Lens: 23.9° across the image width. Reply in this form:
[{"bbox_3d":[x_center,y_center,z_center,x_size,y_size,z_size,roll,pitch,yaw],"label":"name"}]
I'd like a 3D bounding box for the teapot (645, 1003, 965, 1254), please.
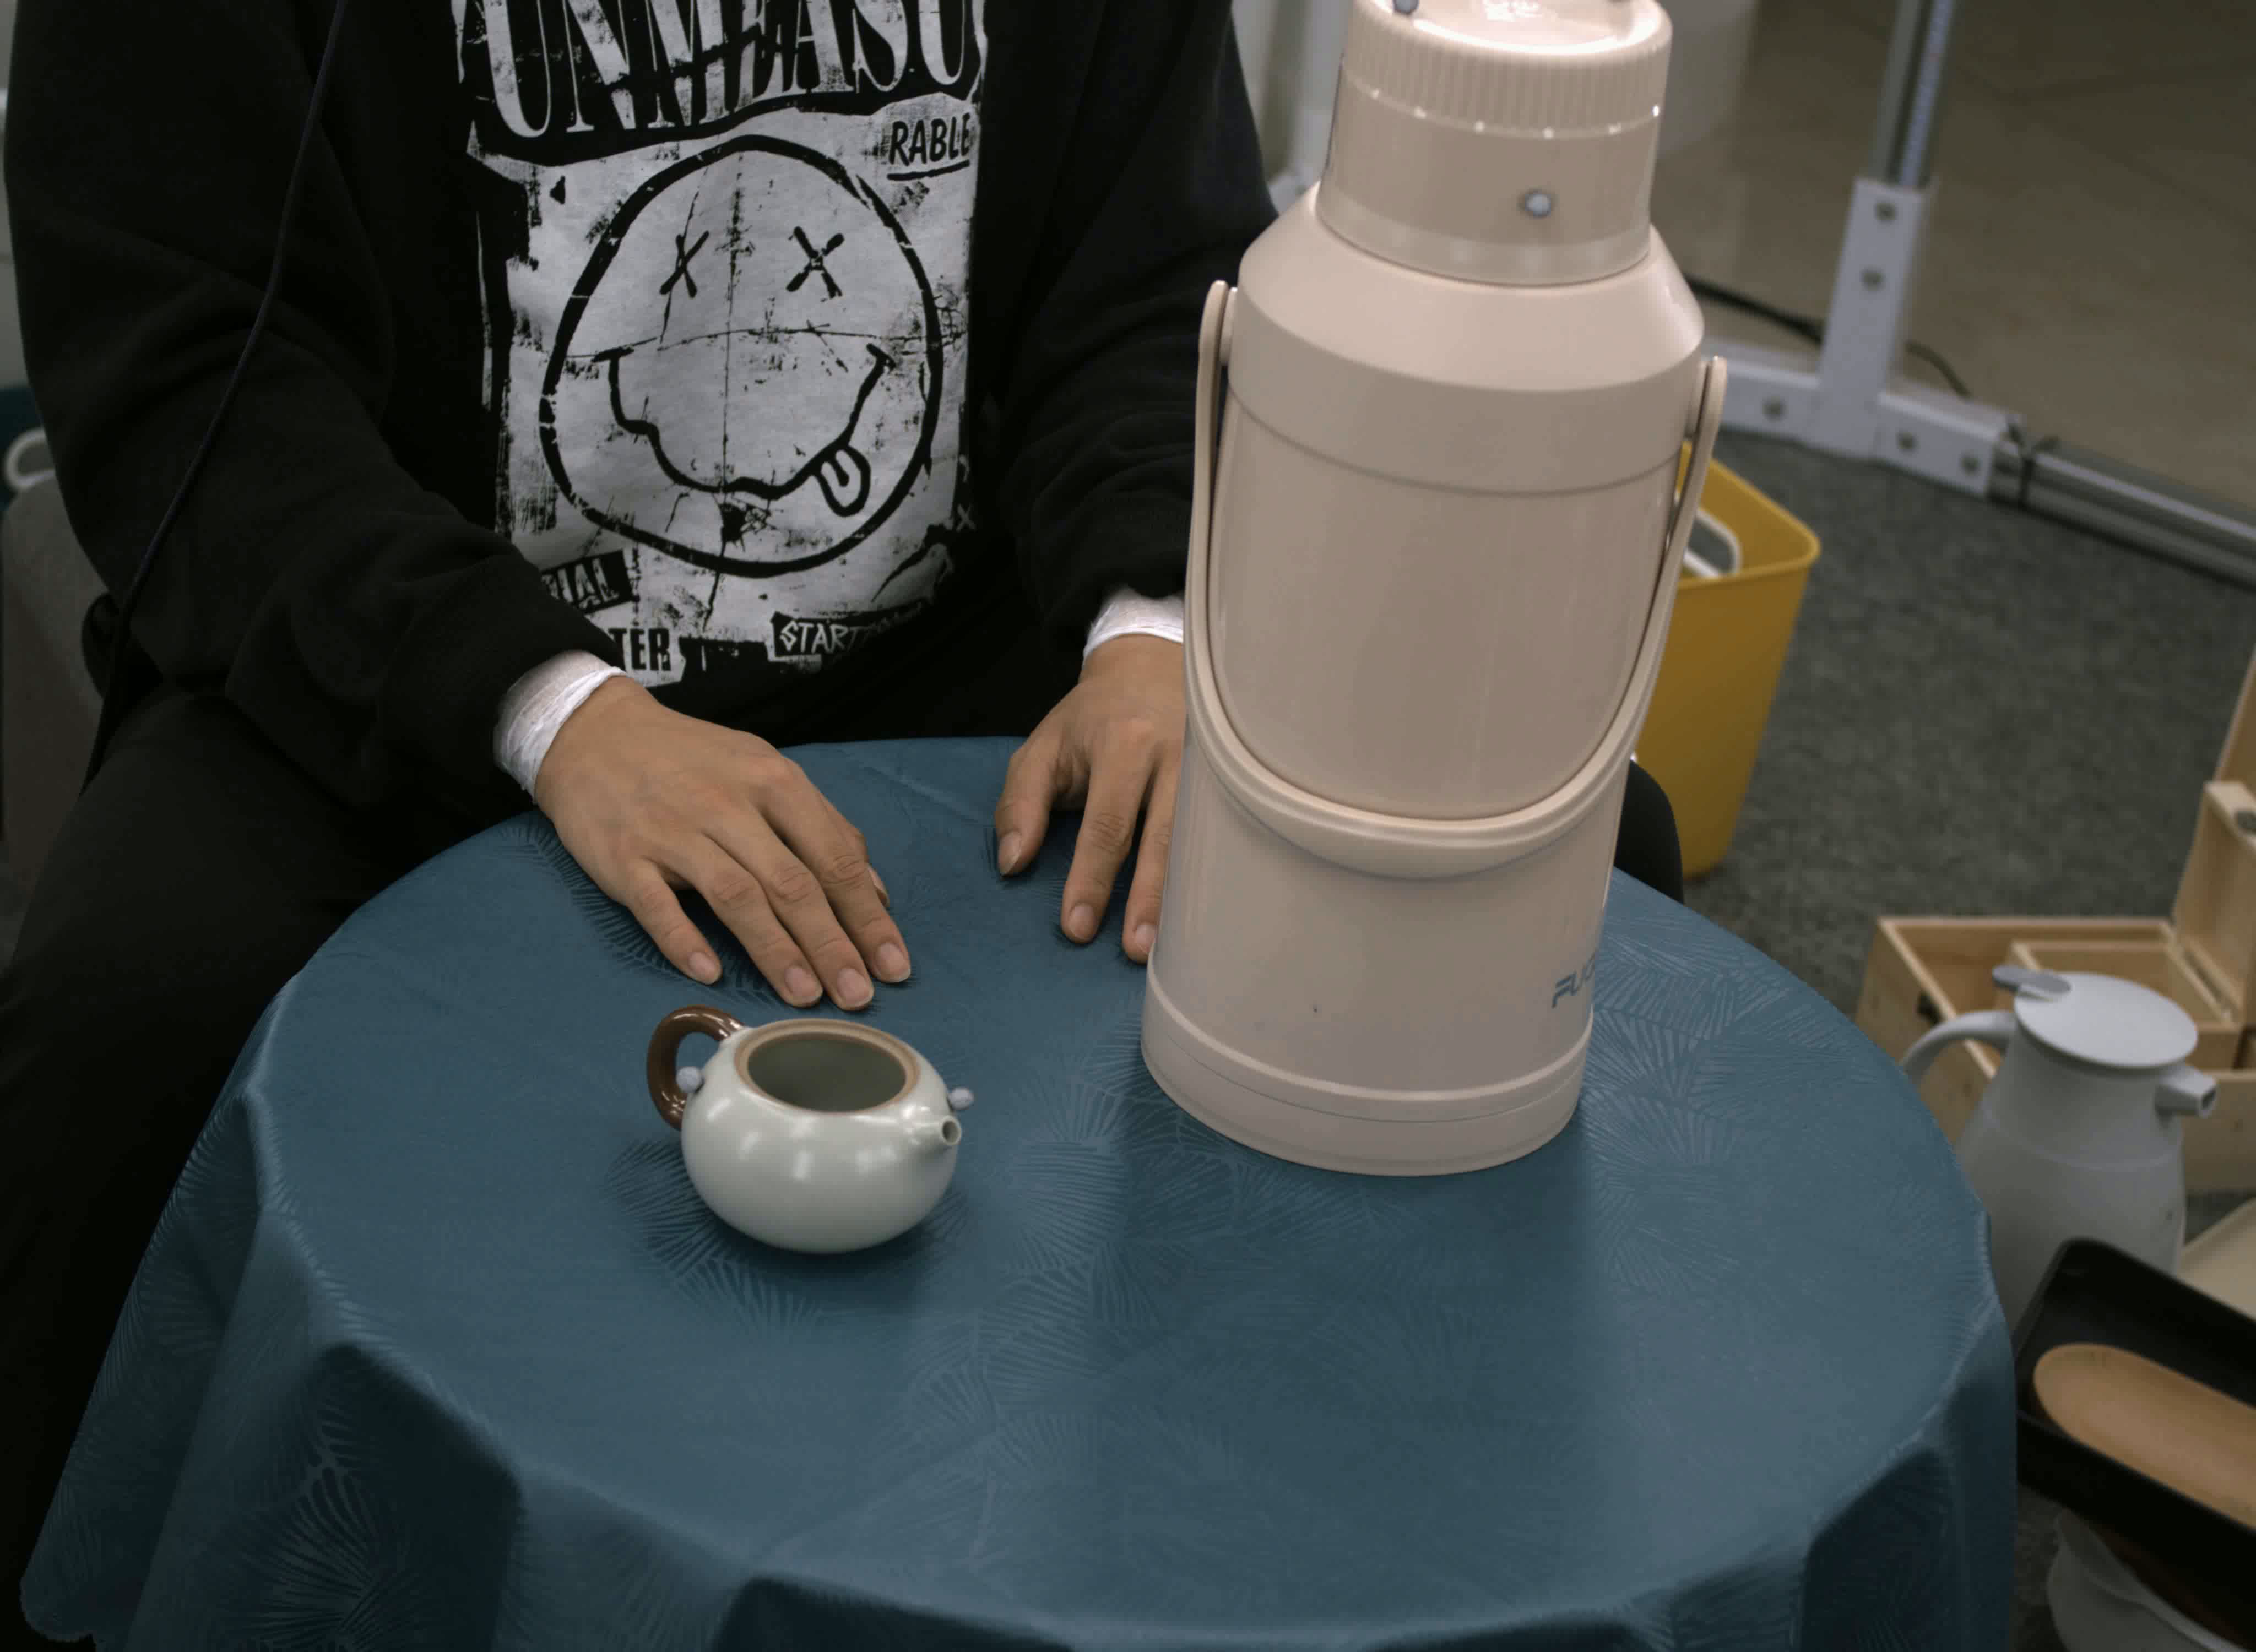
[{"bbox_3d":[-0.109,0.099,1.765,0.129,0.059,0.091,23,34,27],"label":"teapot"}]

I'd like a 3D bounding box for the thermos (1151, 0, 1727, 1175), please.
[{"bbox_3d":[0.108,-0.097,1.827,0.175,0.405,0.208,7,27,4],"label":"thermos"}]
